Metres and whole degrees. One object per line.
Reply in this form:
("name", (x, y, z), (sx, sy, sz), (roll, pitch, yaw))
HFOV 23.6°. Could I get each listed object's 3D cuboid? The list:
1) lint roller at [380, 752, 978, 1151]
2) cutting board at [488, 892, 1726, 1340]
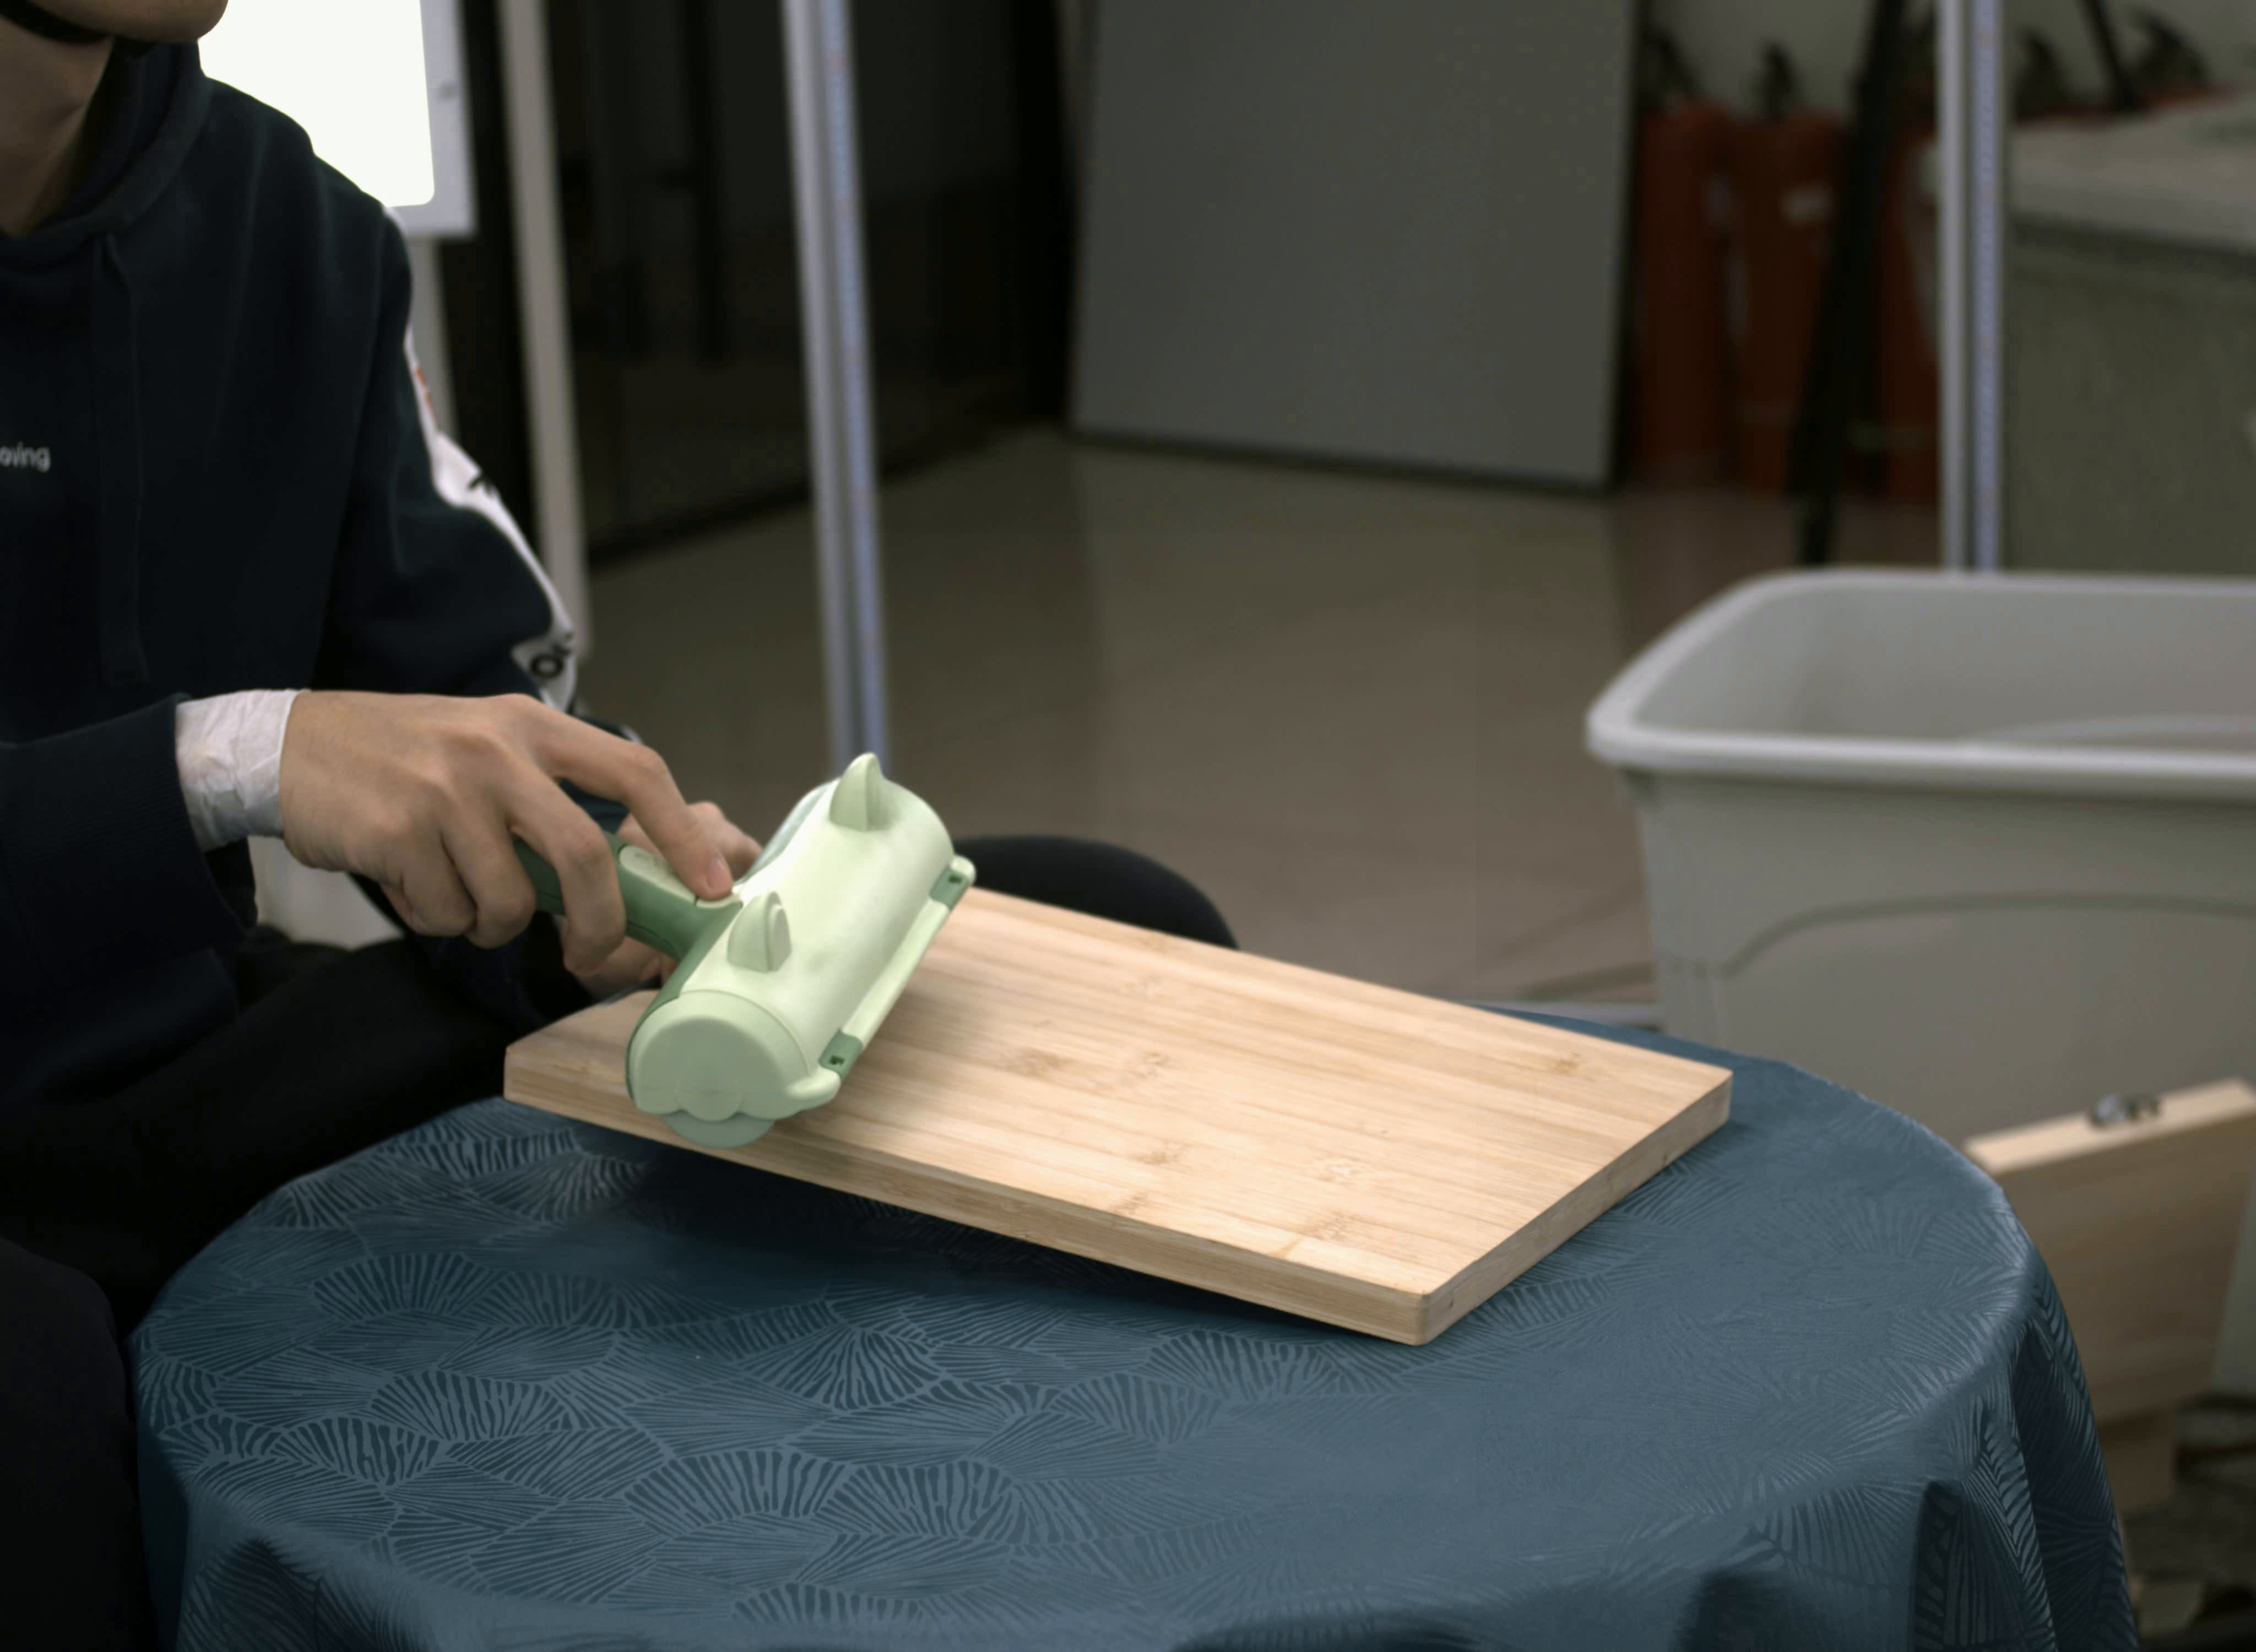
("lint roller", (-0.152, 0.010, 1.757), (0.182, 0.083, 0.197), (28, 26, 3))
("cutting board", (-0.005, 0.086, 1.786), (0.350, 0.024, 0.247), (12, 19, 27))
